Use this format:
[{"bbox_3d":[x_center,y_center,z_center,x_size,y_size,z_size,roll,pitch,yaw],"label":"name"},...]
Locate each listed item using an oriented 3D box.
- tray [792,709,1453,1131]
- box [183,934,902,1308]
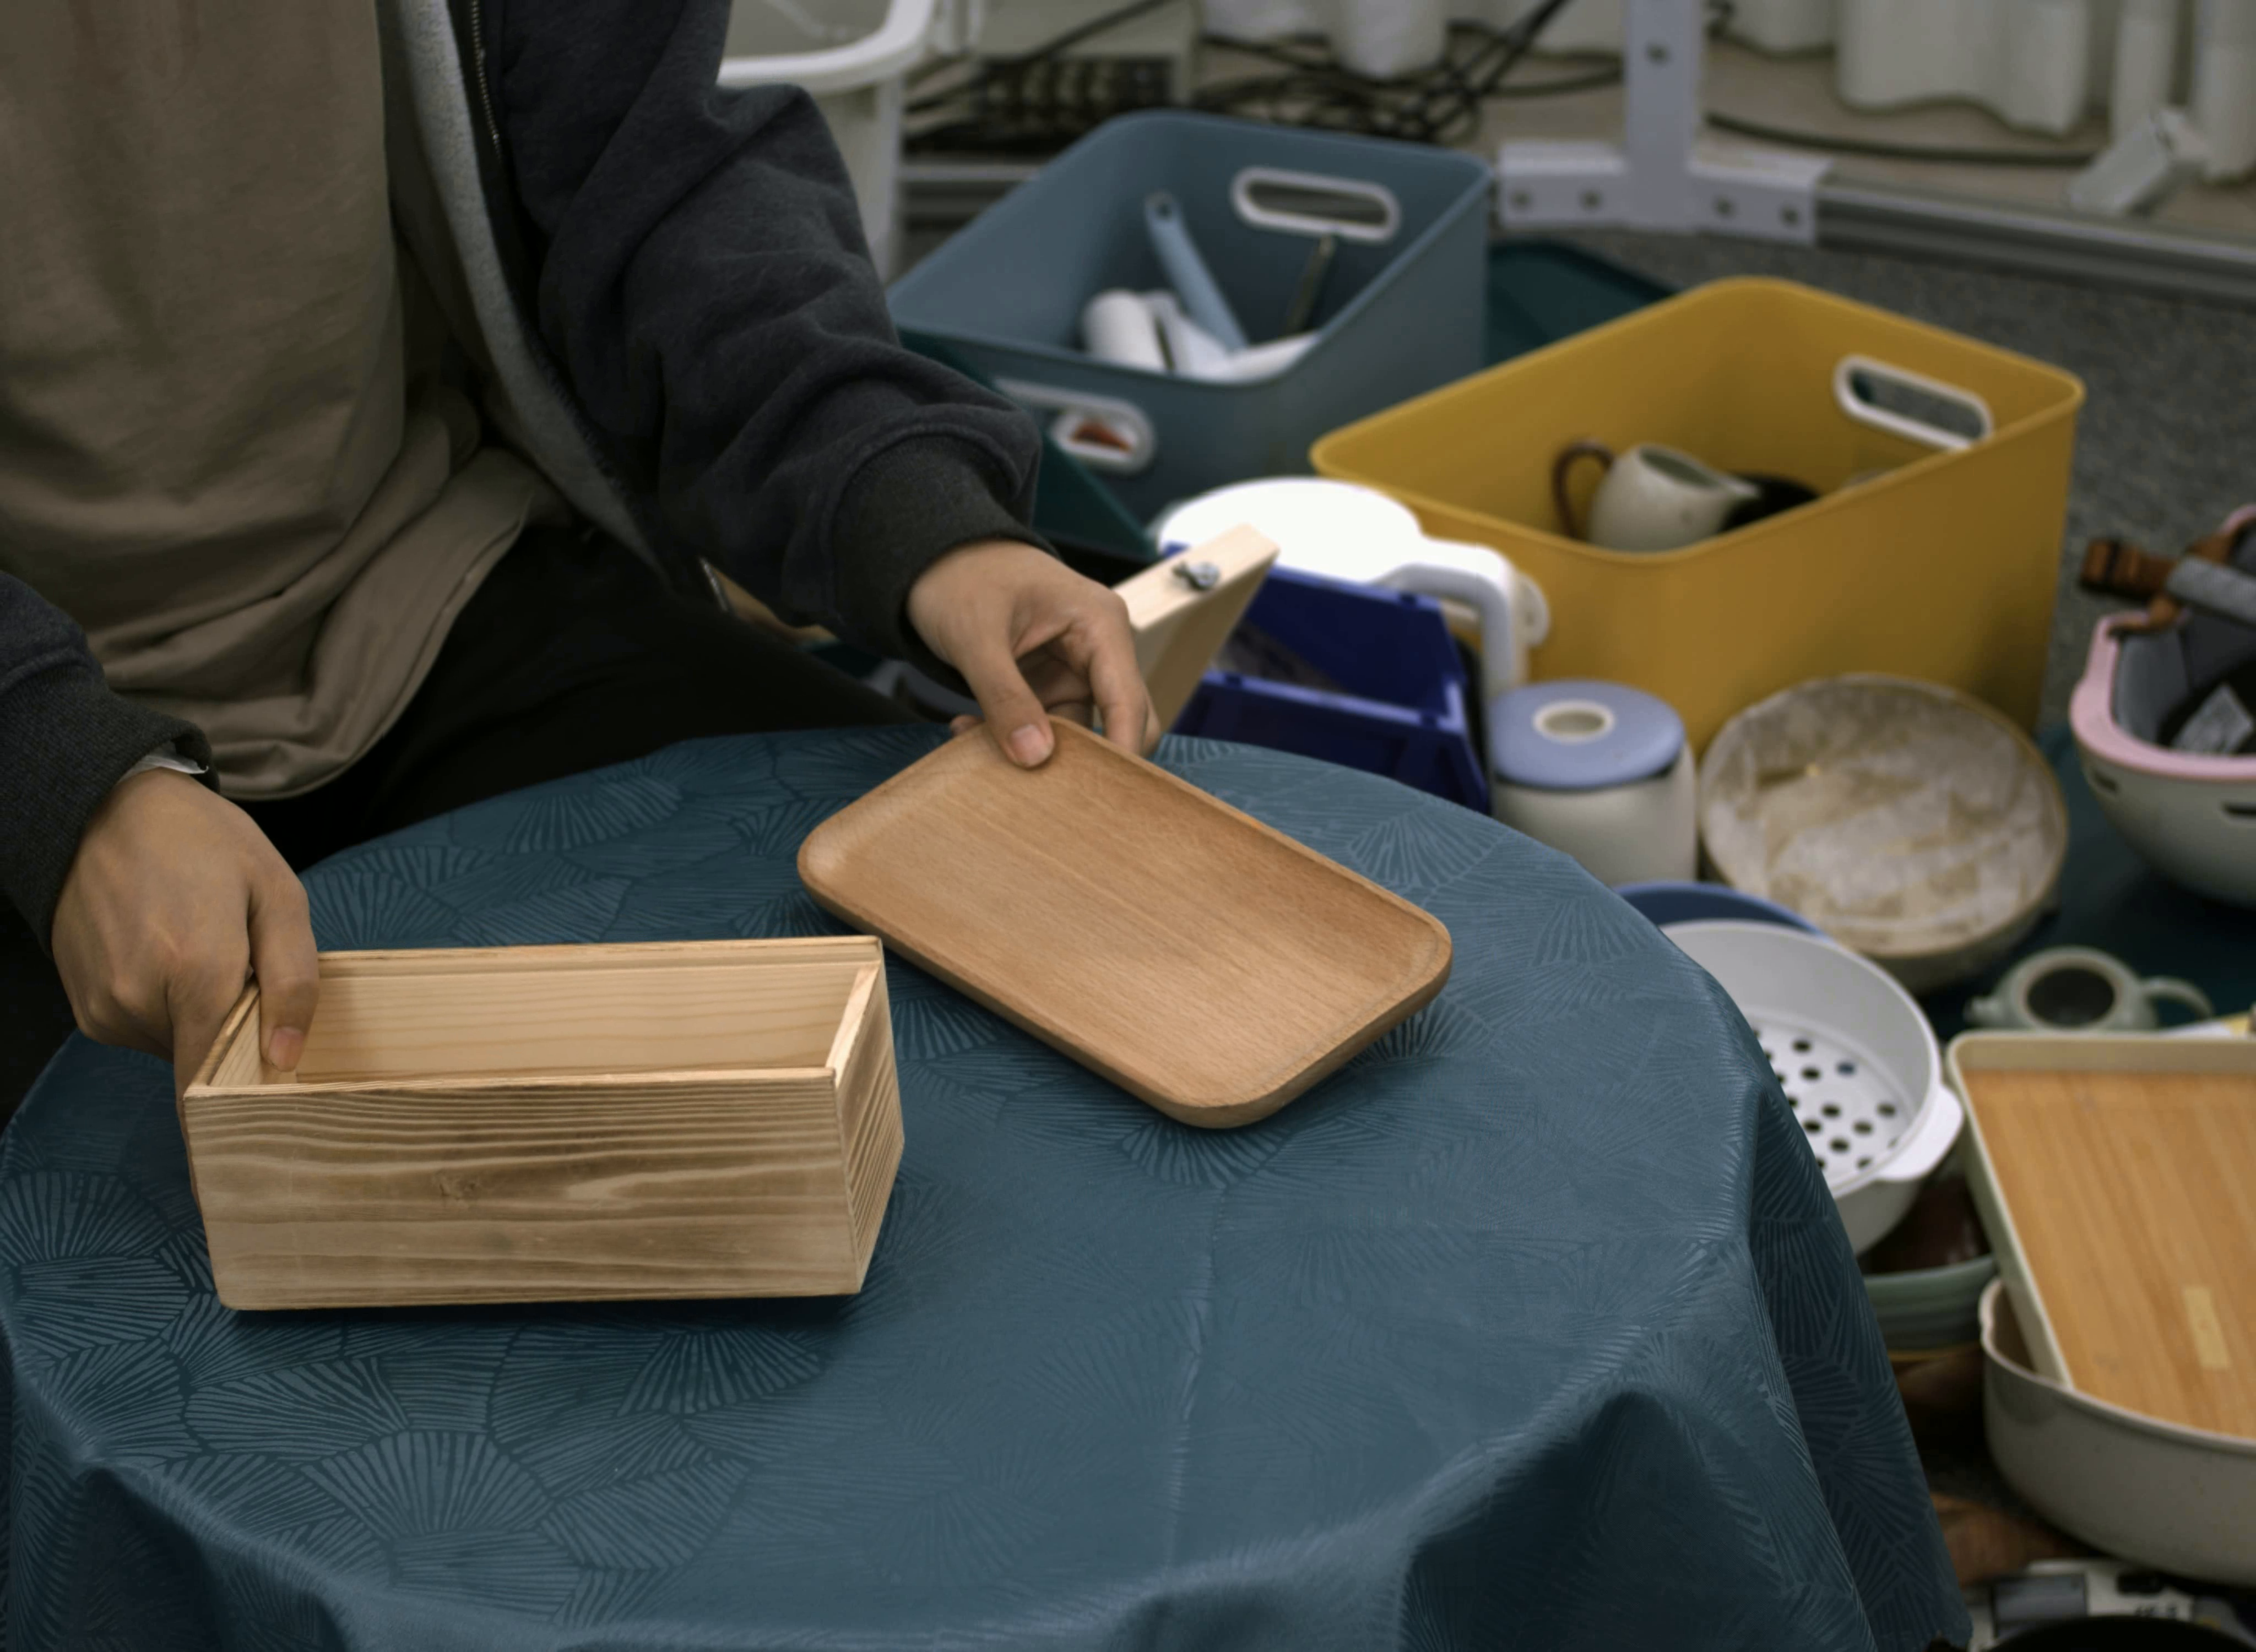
[{"bbox_3d":[-0.004,0.031,1.990,0.132,0.022,0.251,-30,39,-30],"label":"tray"},{"bbox_3d":[-0.188,0.096,1.830,0.210,0.079,0.109,-2,23,7],"label":"box"}]
